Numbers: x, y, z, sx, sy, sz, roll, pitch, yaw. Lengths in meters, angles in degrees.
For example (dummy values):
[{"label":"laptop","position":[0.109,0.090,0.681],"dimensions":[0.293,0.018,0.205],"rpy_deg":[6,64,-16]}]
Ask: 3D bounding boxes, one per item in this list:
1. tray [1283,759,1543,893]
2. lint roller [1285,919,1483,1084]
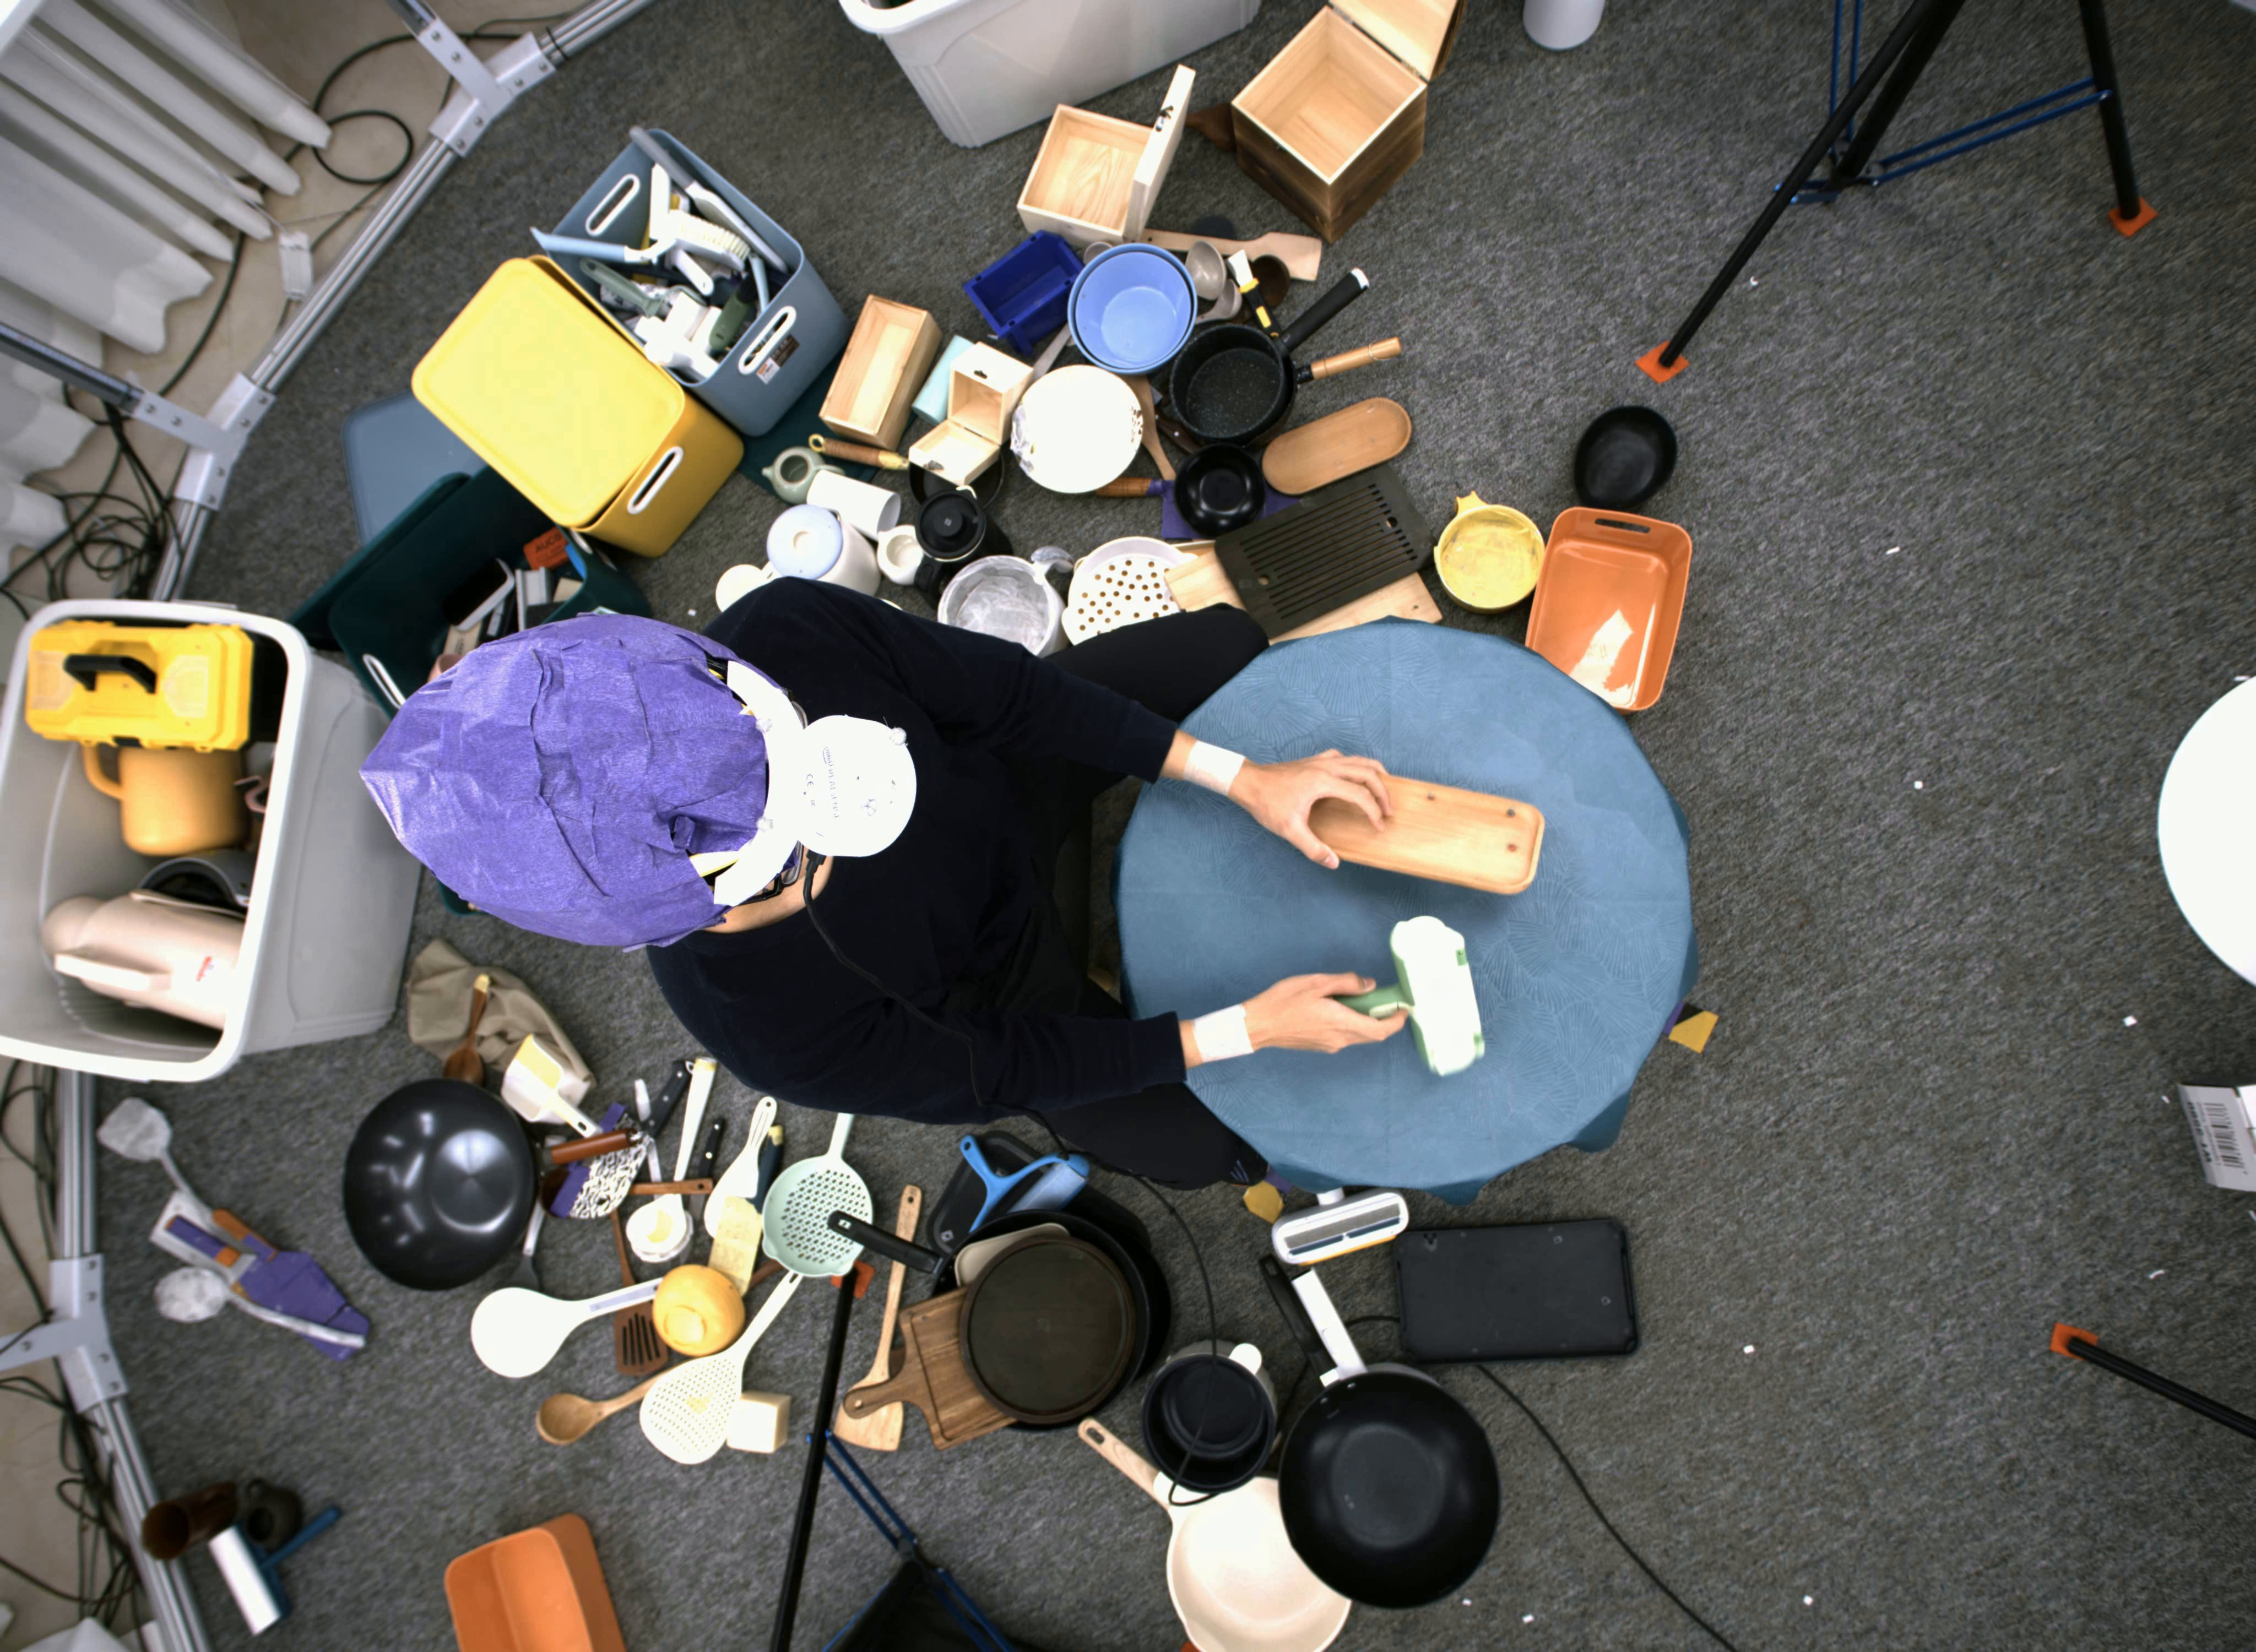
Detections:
[{"label":"tray","position":[0.287,-0.002,1.391],"dimensions":[0.251,0.023,0.127],"rpy_deg":[12,48,16]},{"label":"lint roller","position":[0.248,0.192,1.356],"dimensions":[0.184,0.080,0.203],"rpy_deg":[-16,128,7]}]
